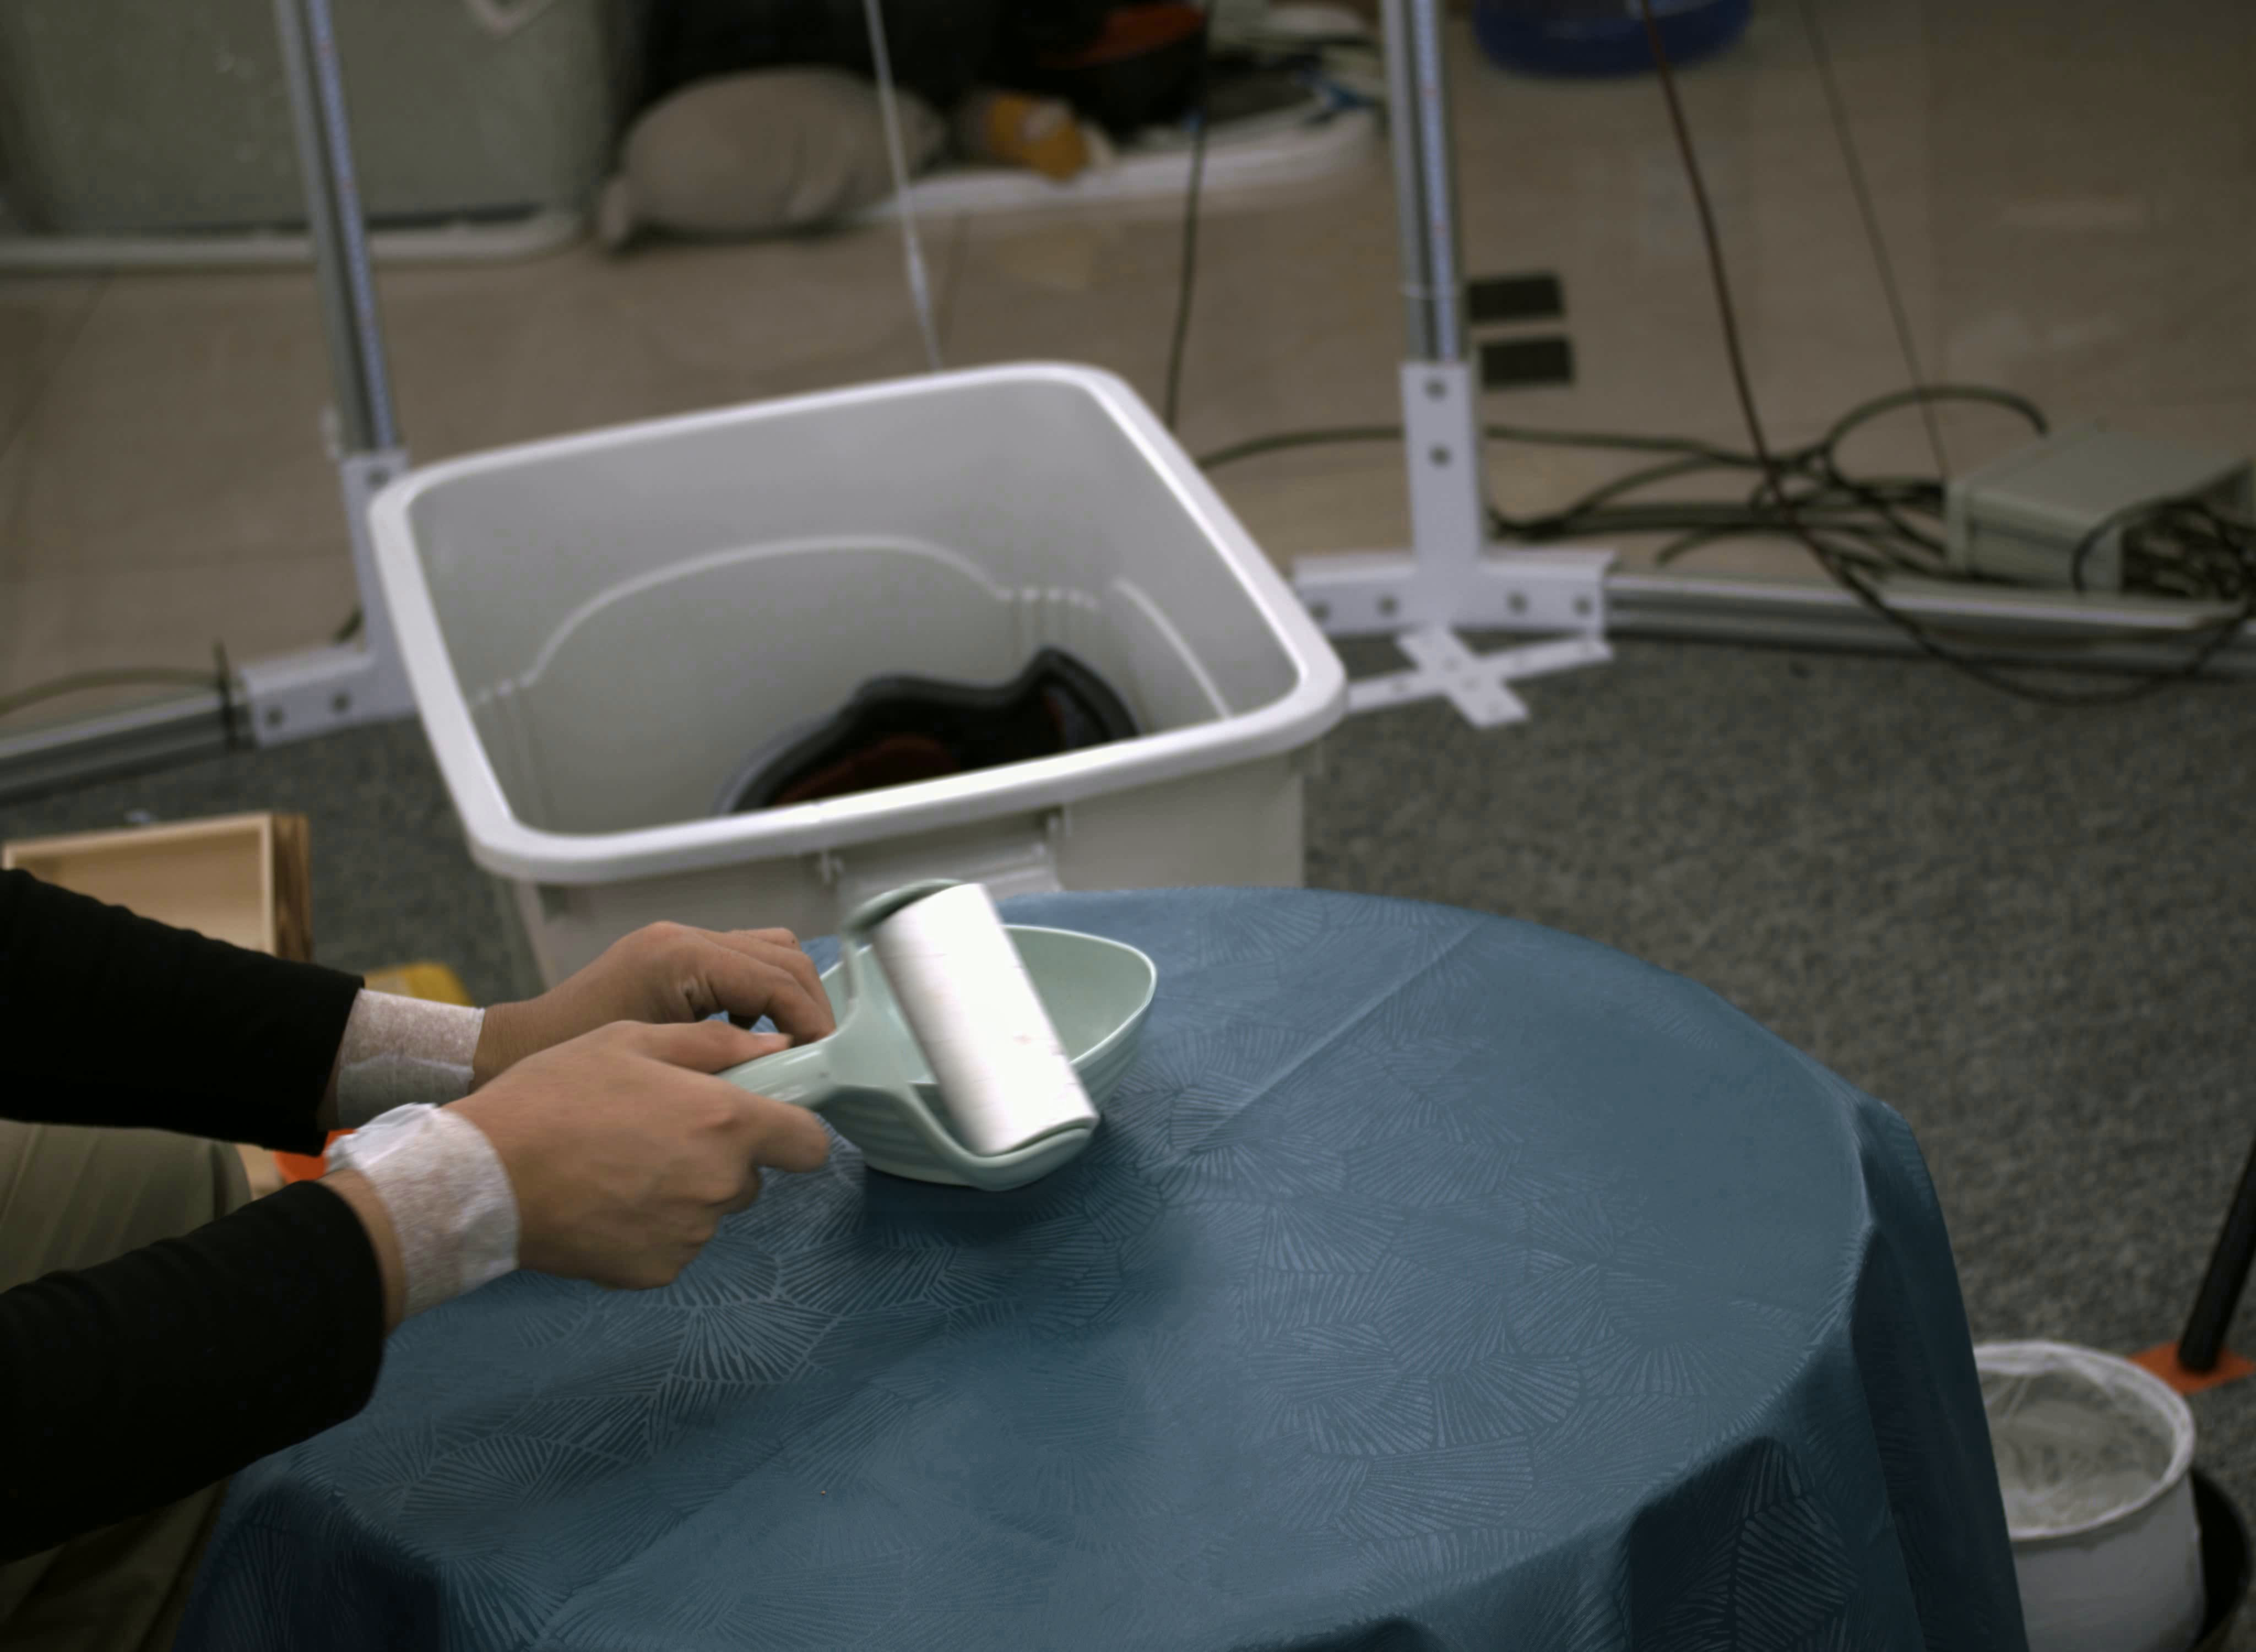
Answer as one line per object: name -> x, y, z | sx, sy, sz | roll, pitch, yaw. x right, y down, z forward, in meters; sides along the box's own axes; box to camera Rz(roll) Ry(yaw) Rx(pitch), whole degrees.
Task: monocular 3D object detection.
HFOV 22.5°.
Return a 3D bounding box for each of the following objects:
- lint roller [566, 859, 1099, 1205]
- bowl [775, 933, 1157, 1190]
lint roller -> -0.115, 0.089, 2.058 | 0.196, 0.116, 0.049 | -19, -14, -29
bowl -> -0.060, 0.095, 2.189 | 0.151, 0.059, 0.149 | -4, 23, 2
